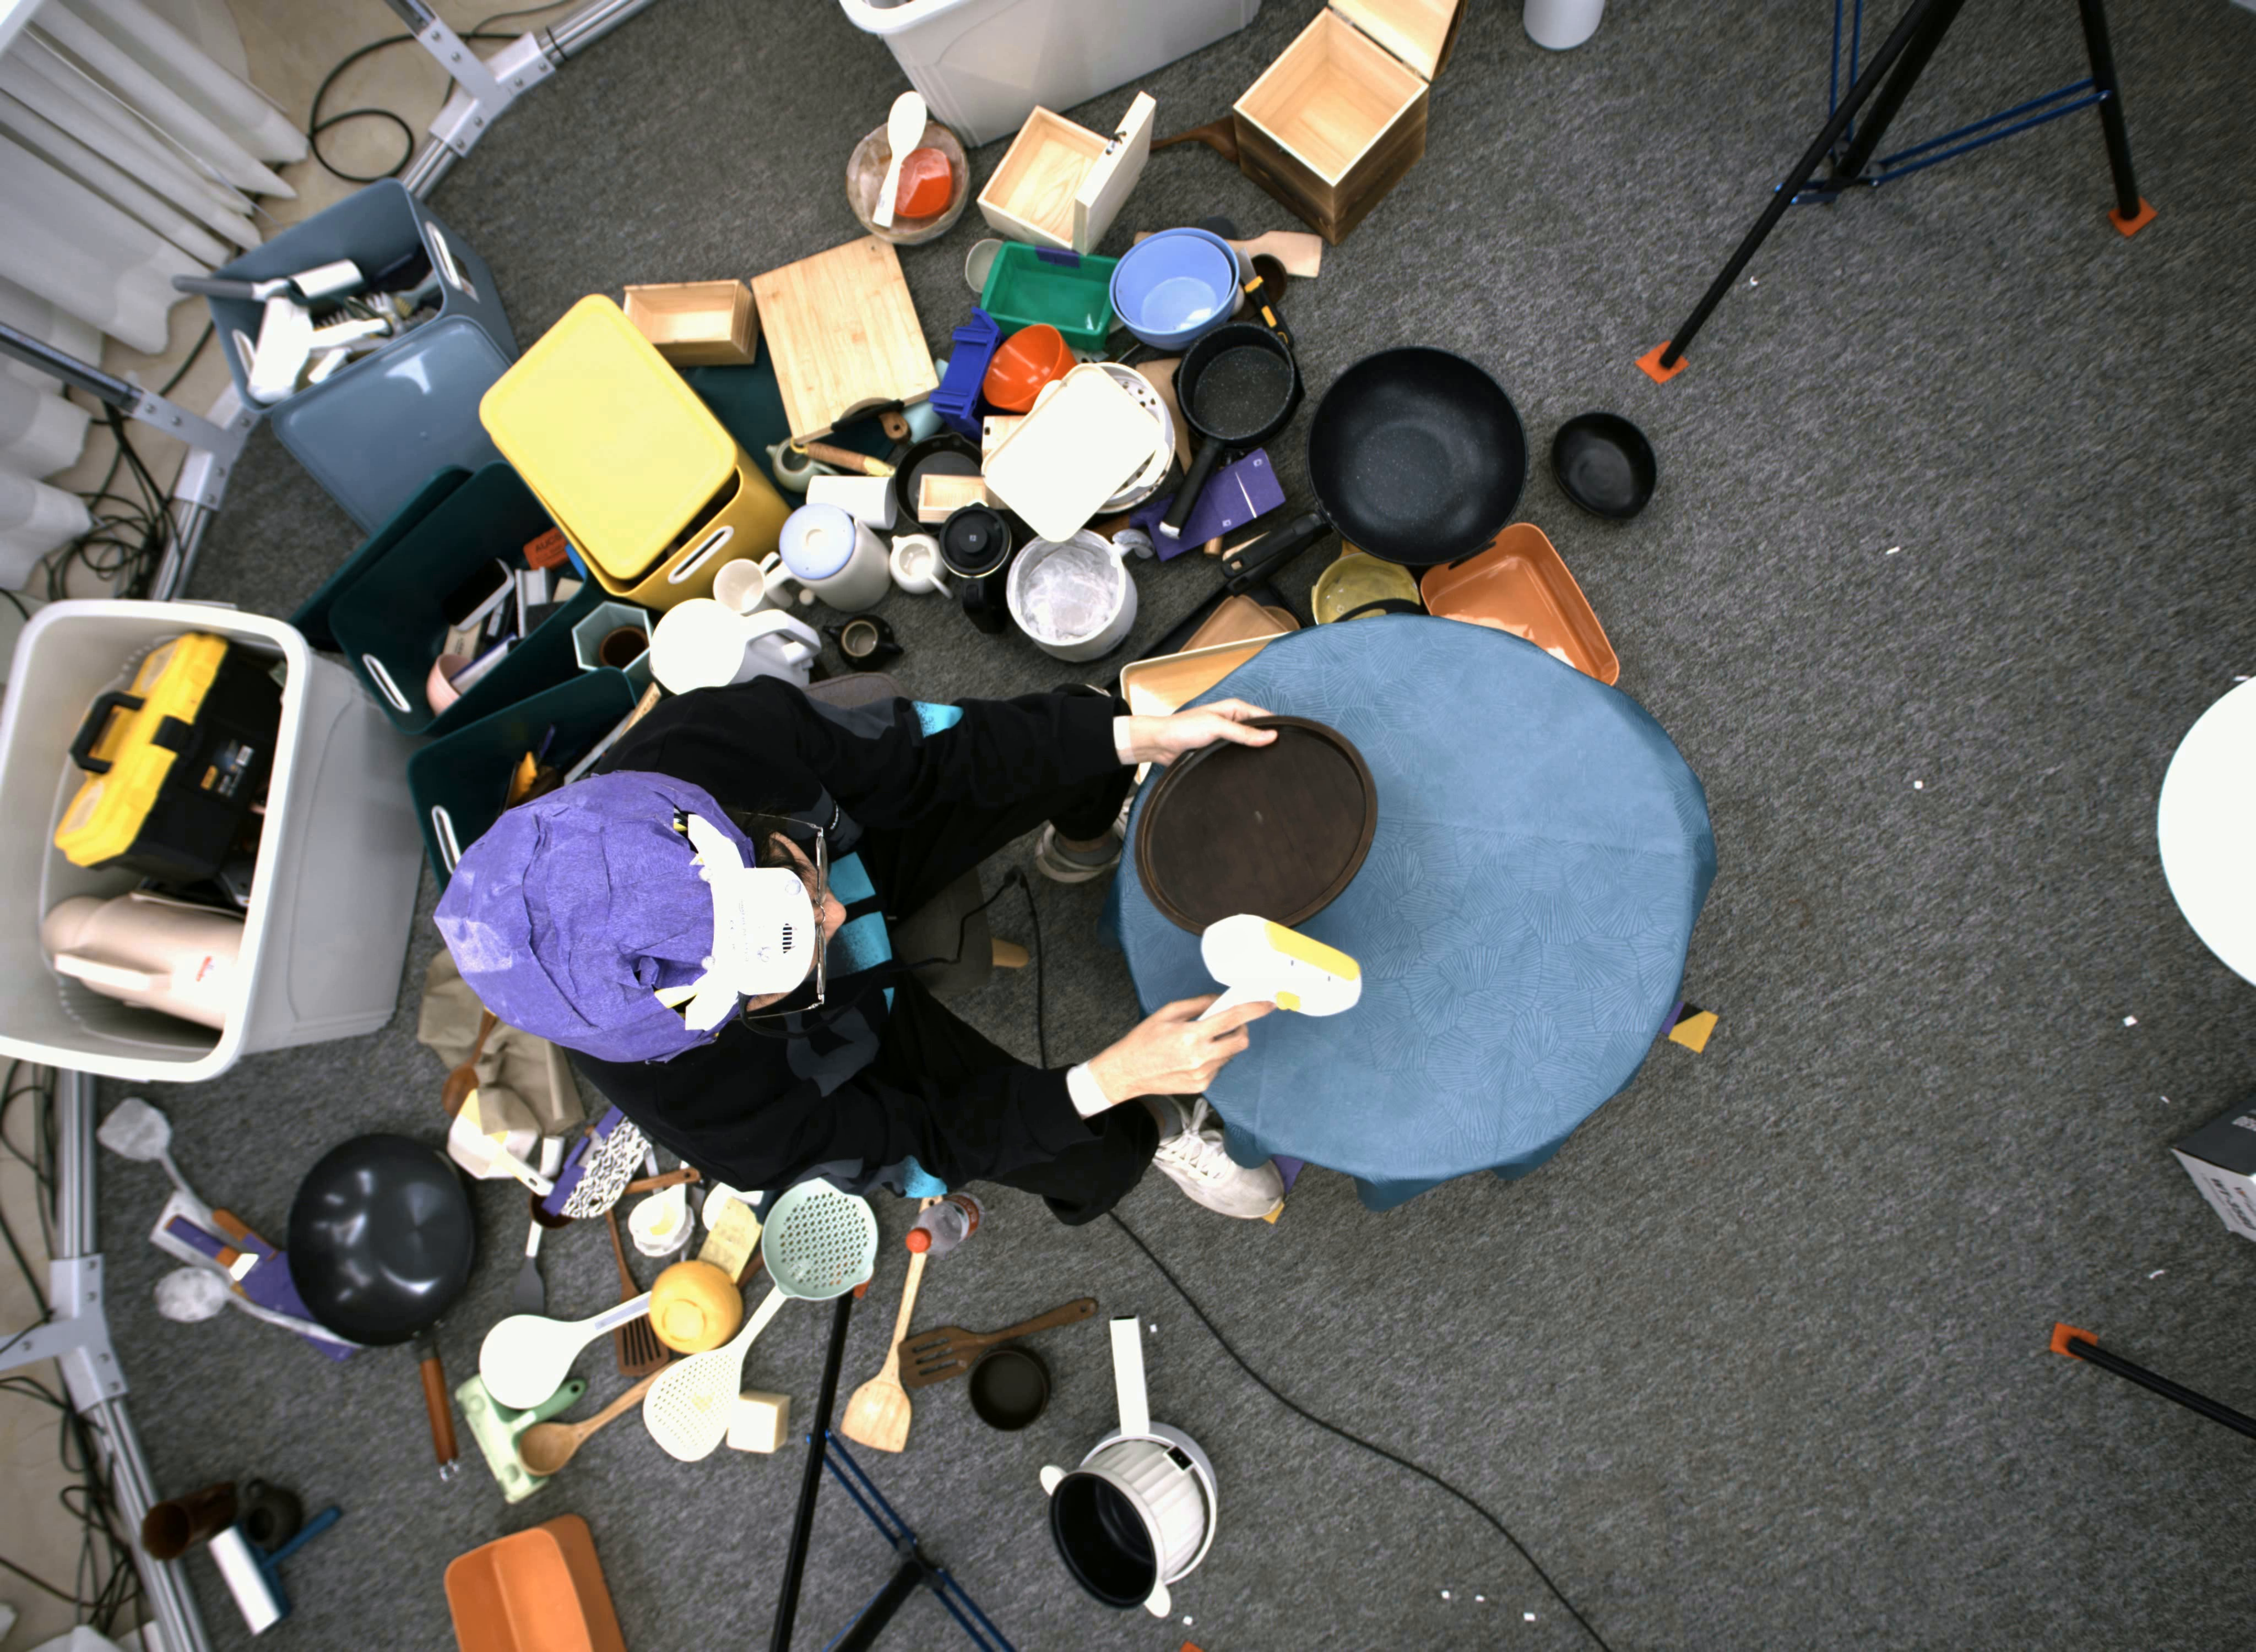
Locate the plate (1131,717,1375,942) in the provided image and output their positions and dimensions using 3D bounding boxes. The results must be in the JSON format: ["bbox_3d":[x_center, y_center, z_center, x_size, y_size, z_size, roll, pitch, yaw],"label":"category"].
[{"bbox_3d":[0.121,0.003,1.360,0.257,0.029,0.249,-15,57,22],"label":"plate"}]

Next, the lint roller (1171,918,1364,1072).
[{"bbox_3d":[0.108,0.167,1.318,0.196,0.193,0.072,-38,53,34],"label":"lint roller"}]
